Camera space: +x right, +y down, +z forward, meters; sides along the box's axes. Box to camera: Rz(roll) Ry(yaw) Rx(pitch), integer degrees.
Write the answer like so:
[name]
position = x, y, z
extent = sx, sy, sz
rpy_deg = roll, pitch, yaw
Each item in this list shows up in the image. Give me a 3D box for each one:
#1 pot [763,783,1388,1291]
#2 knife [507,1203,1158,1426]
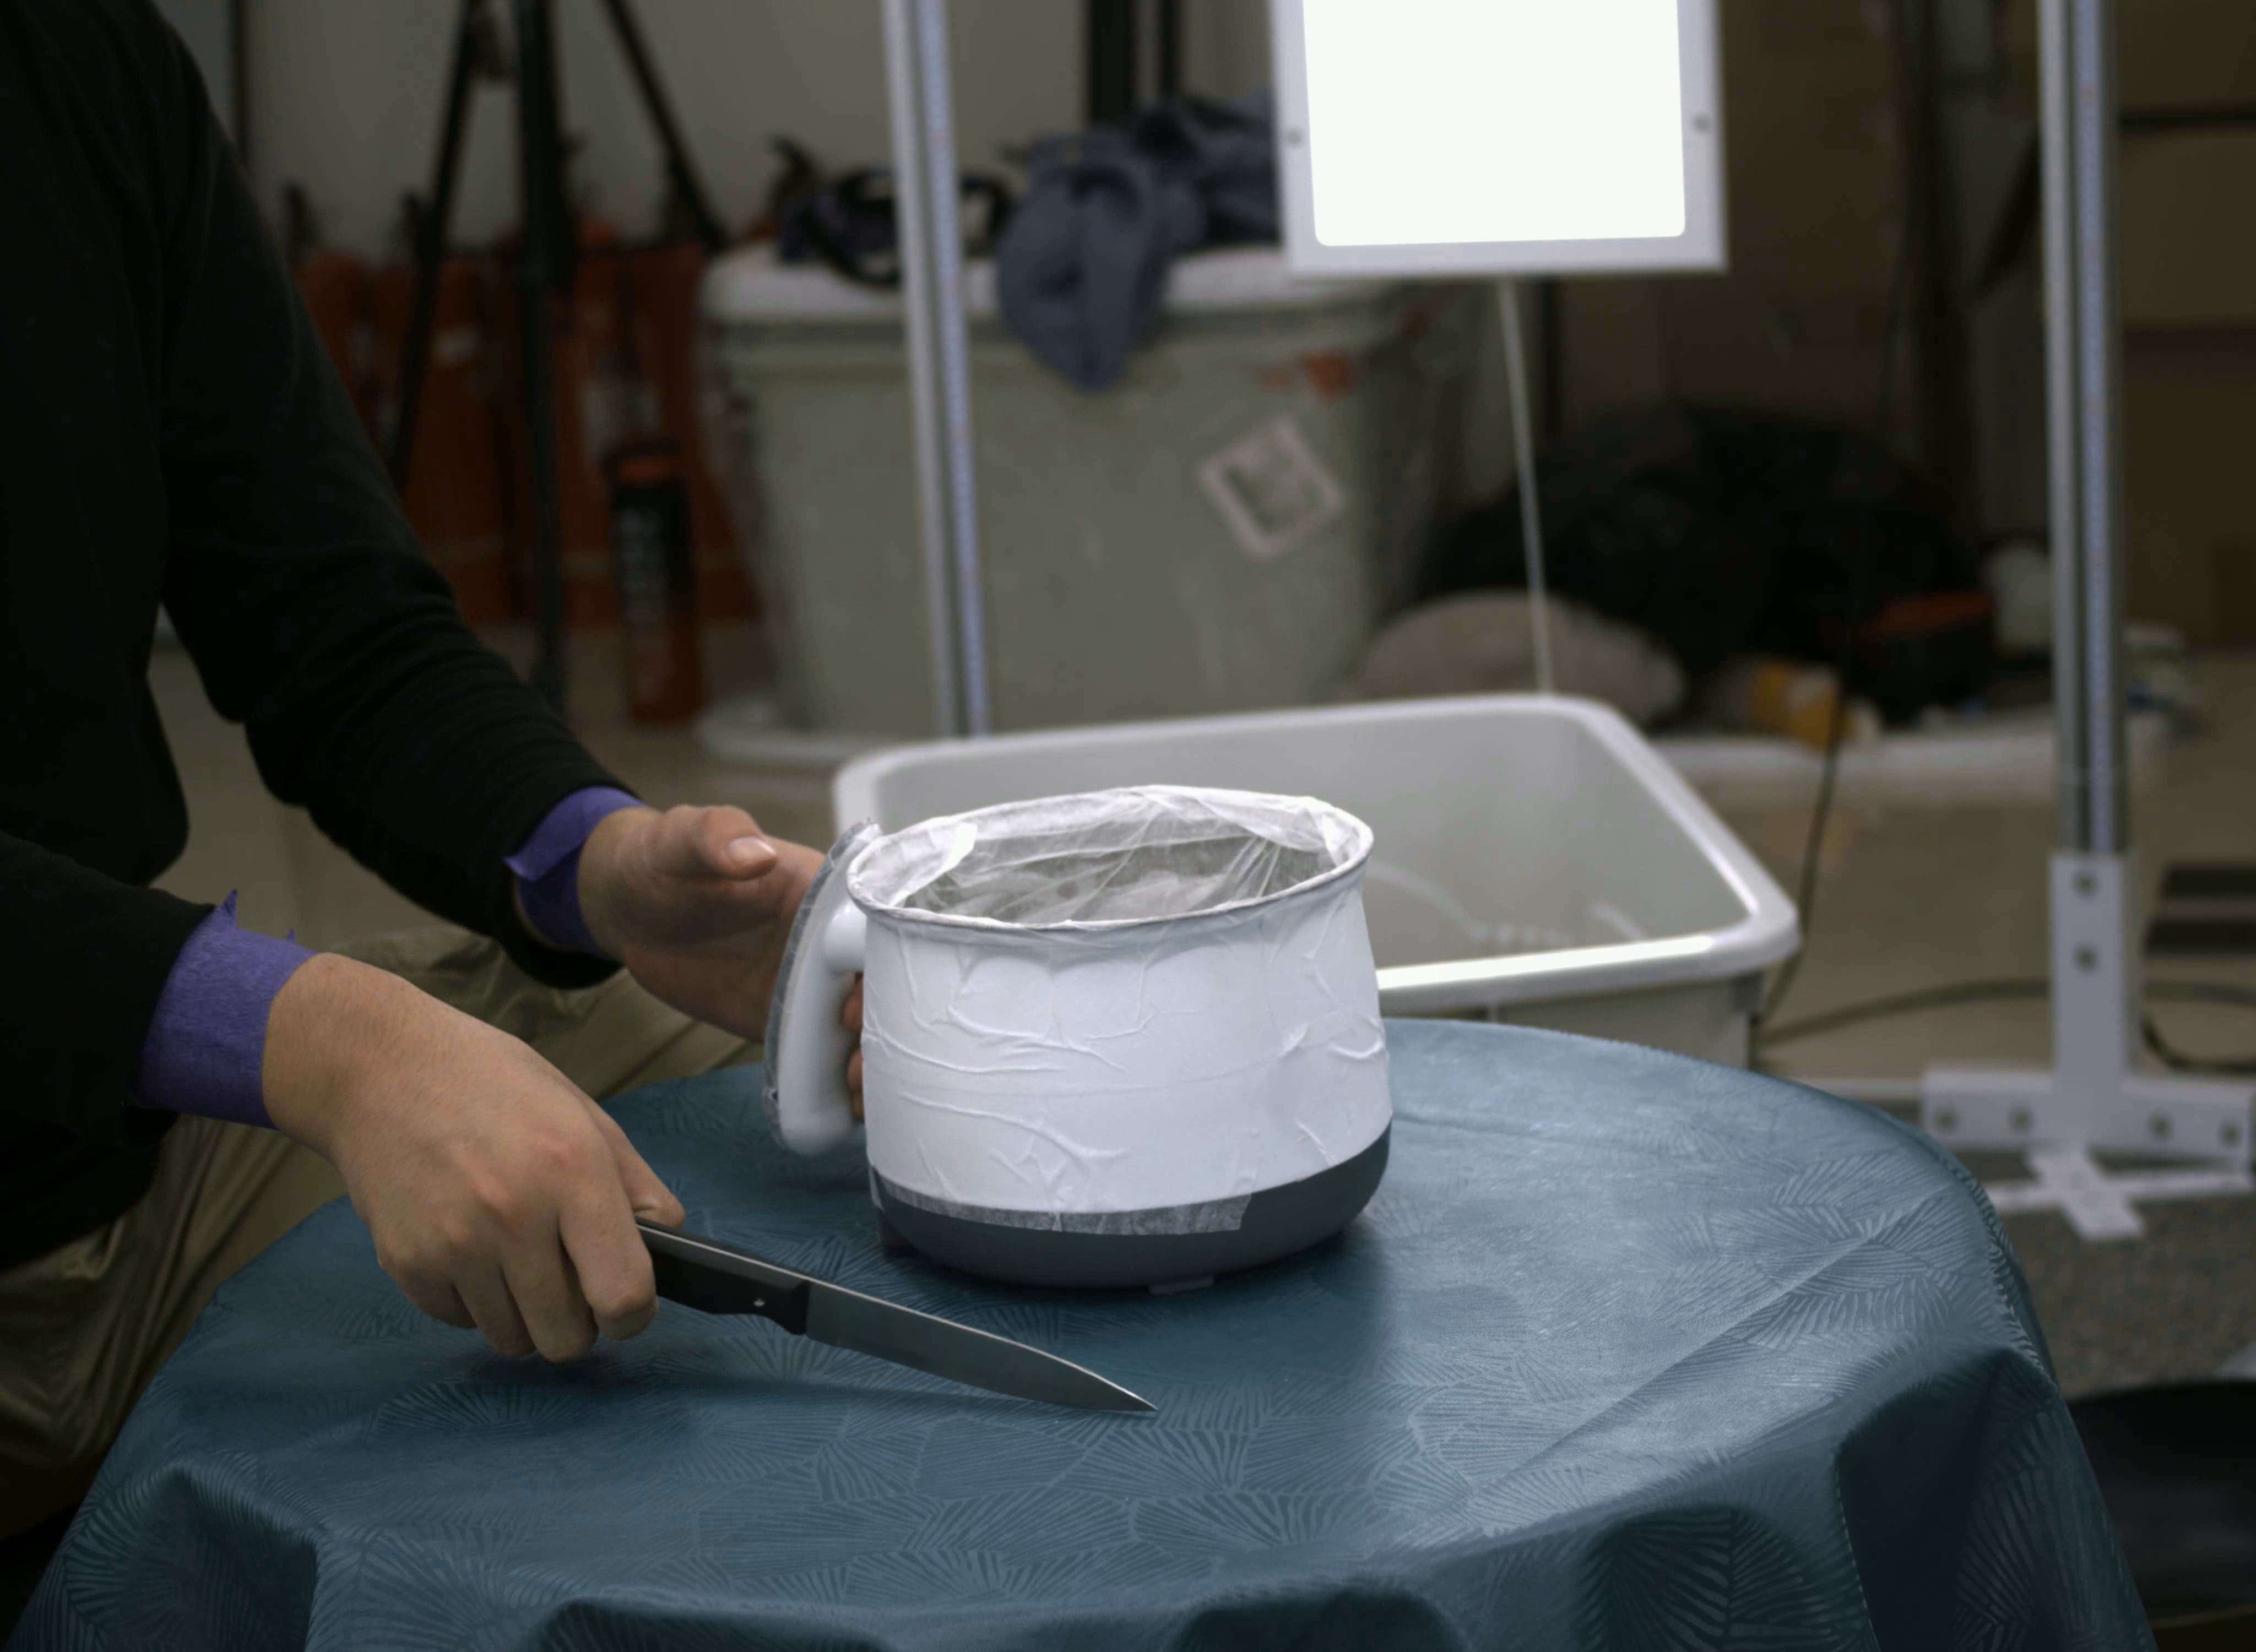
[pot]
position = -0.025, 0.067, 1.855
extent = 0.238, 0.137, 0.174
rpy_deg = 5, 16, 32
[knife]
position = -0.095, 0.153, 1.730
extent = 0.242, 0.024, 0.016
rpy_deg = 14, 37, 27
